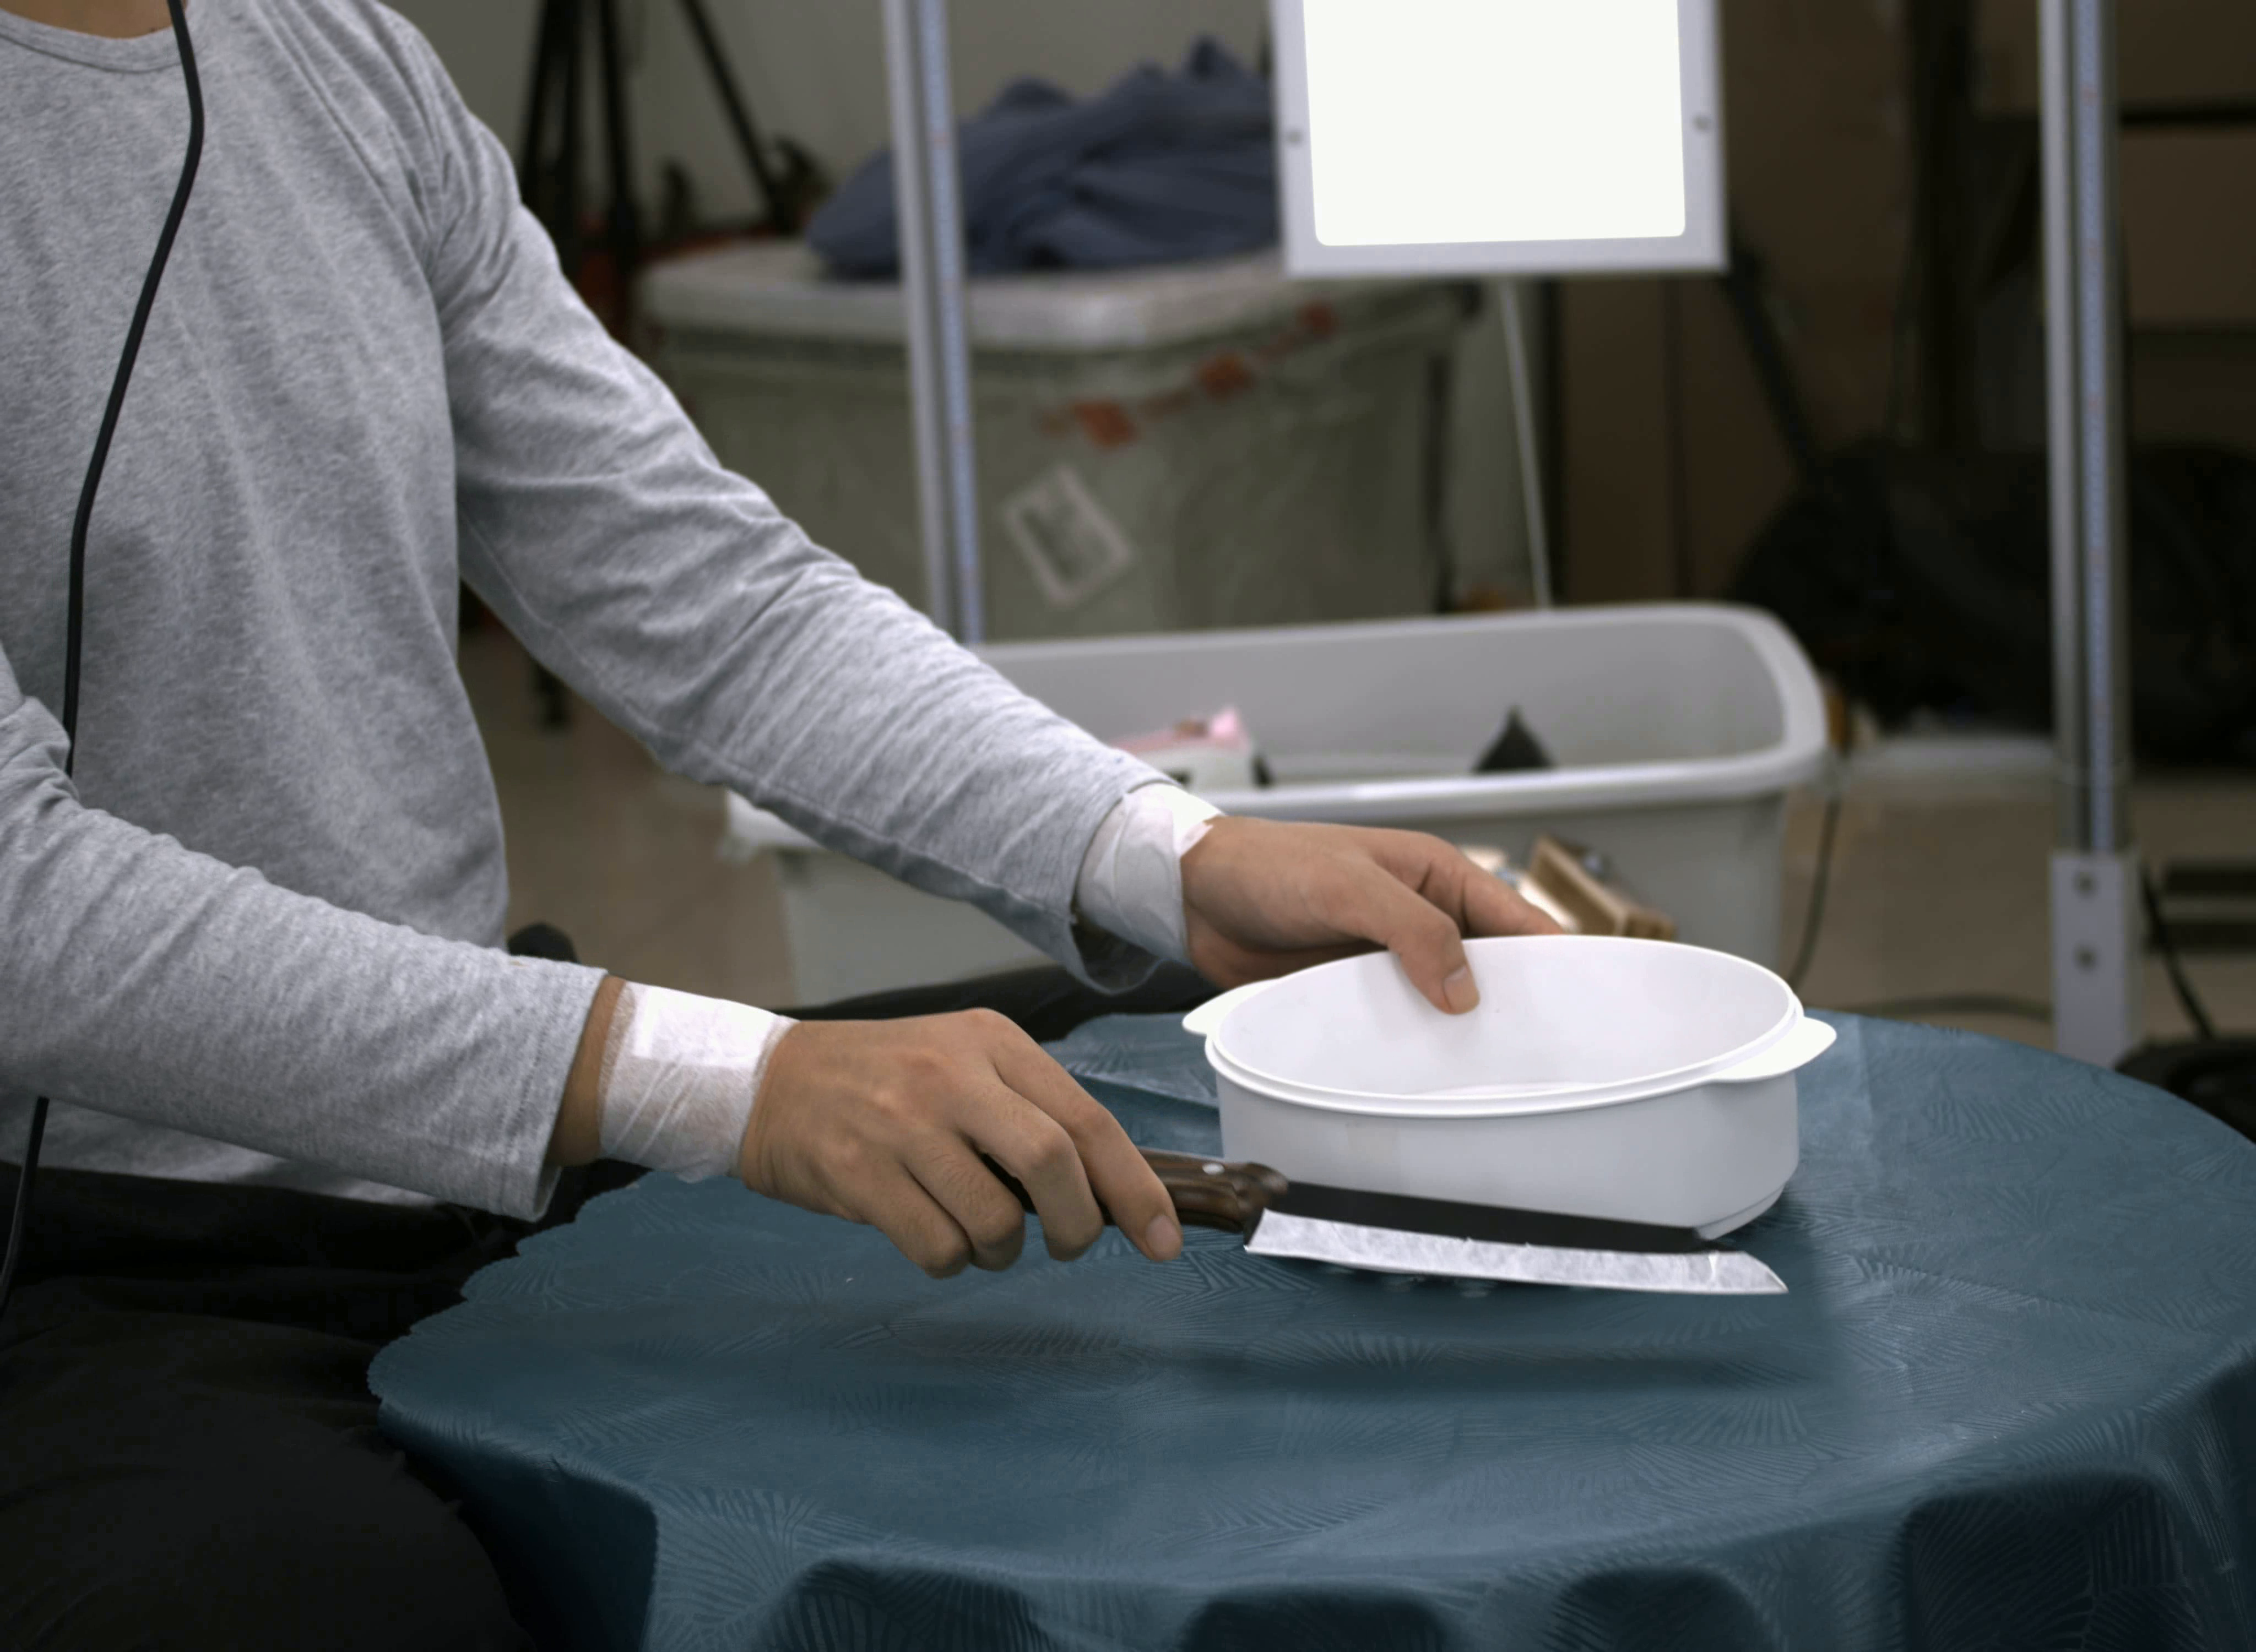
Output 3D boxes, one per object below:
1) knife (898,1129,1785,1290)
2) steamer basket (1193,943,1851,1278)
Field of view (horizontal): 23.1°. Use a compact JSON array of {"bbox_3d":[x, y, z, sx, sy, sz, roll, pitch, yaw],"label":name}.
[{"bbox_3d":[0.063,0.121,1.711,0.292,0.020,0.049,6,29,18],"label":"knife"},{"bbox_3d":[0.132,0.095,1.842,0.235,0.069,0.197,3,15,33],"label":"steamer basket"}]
